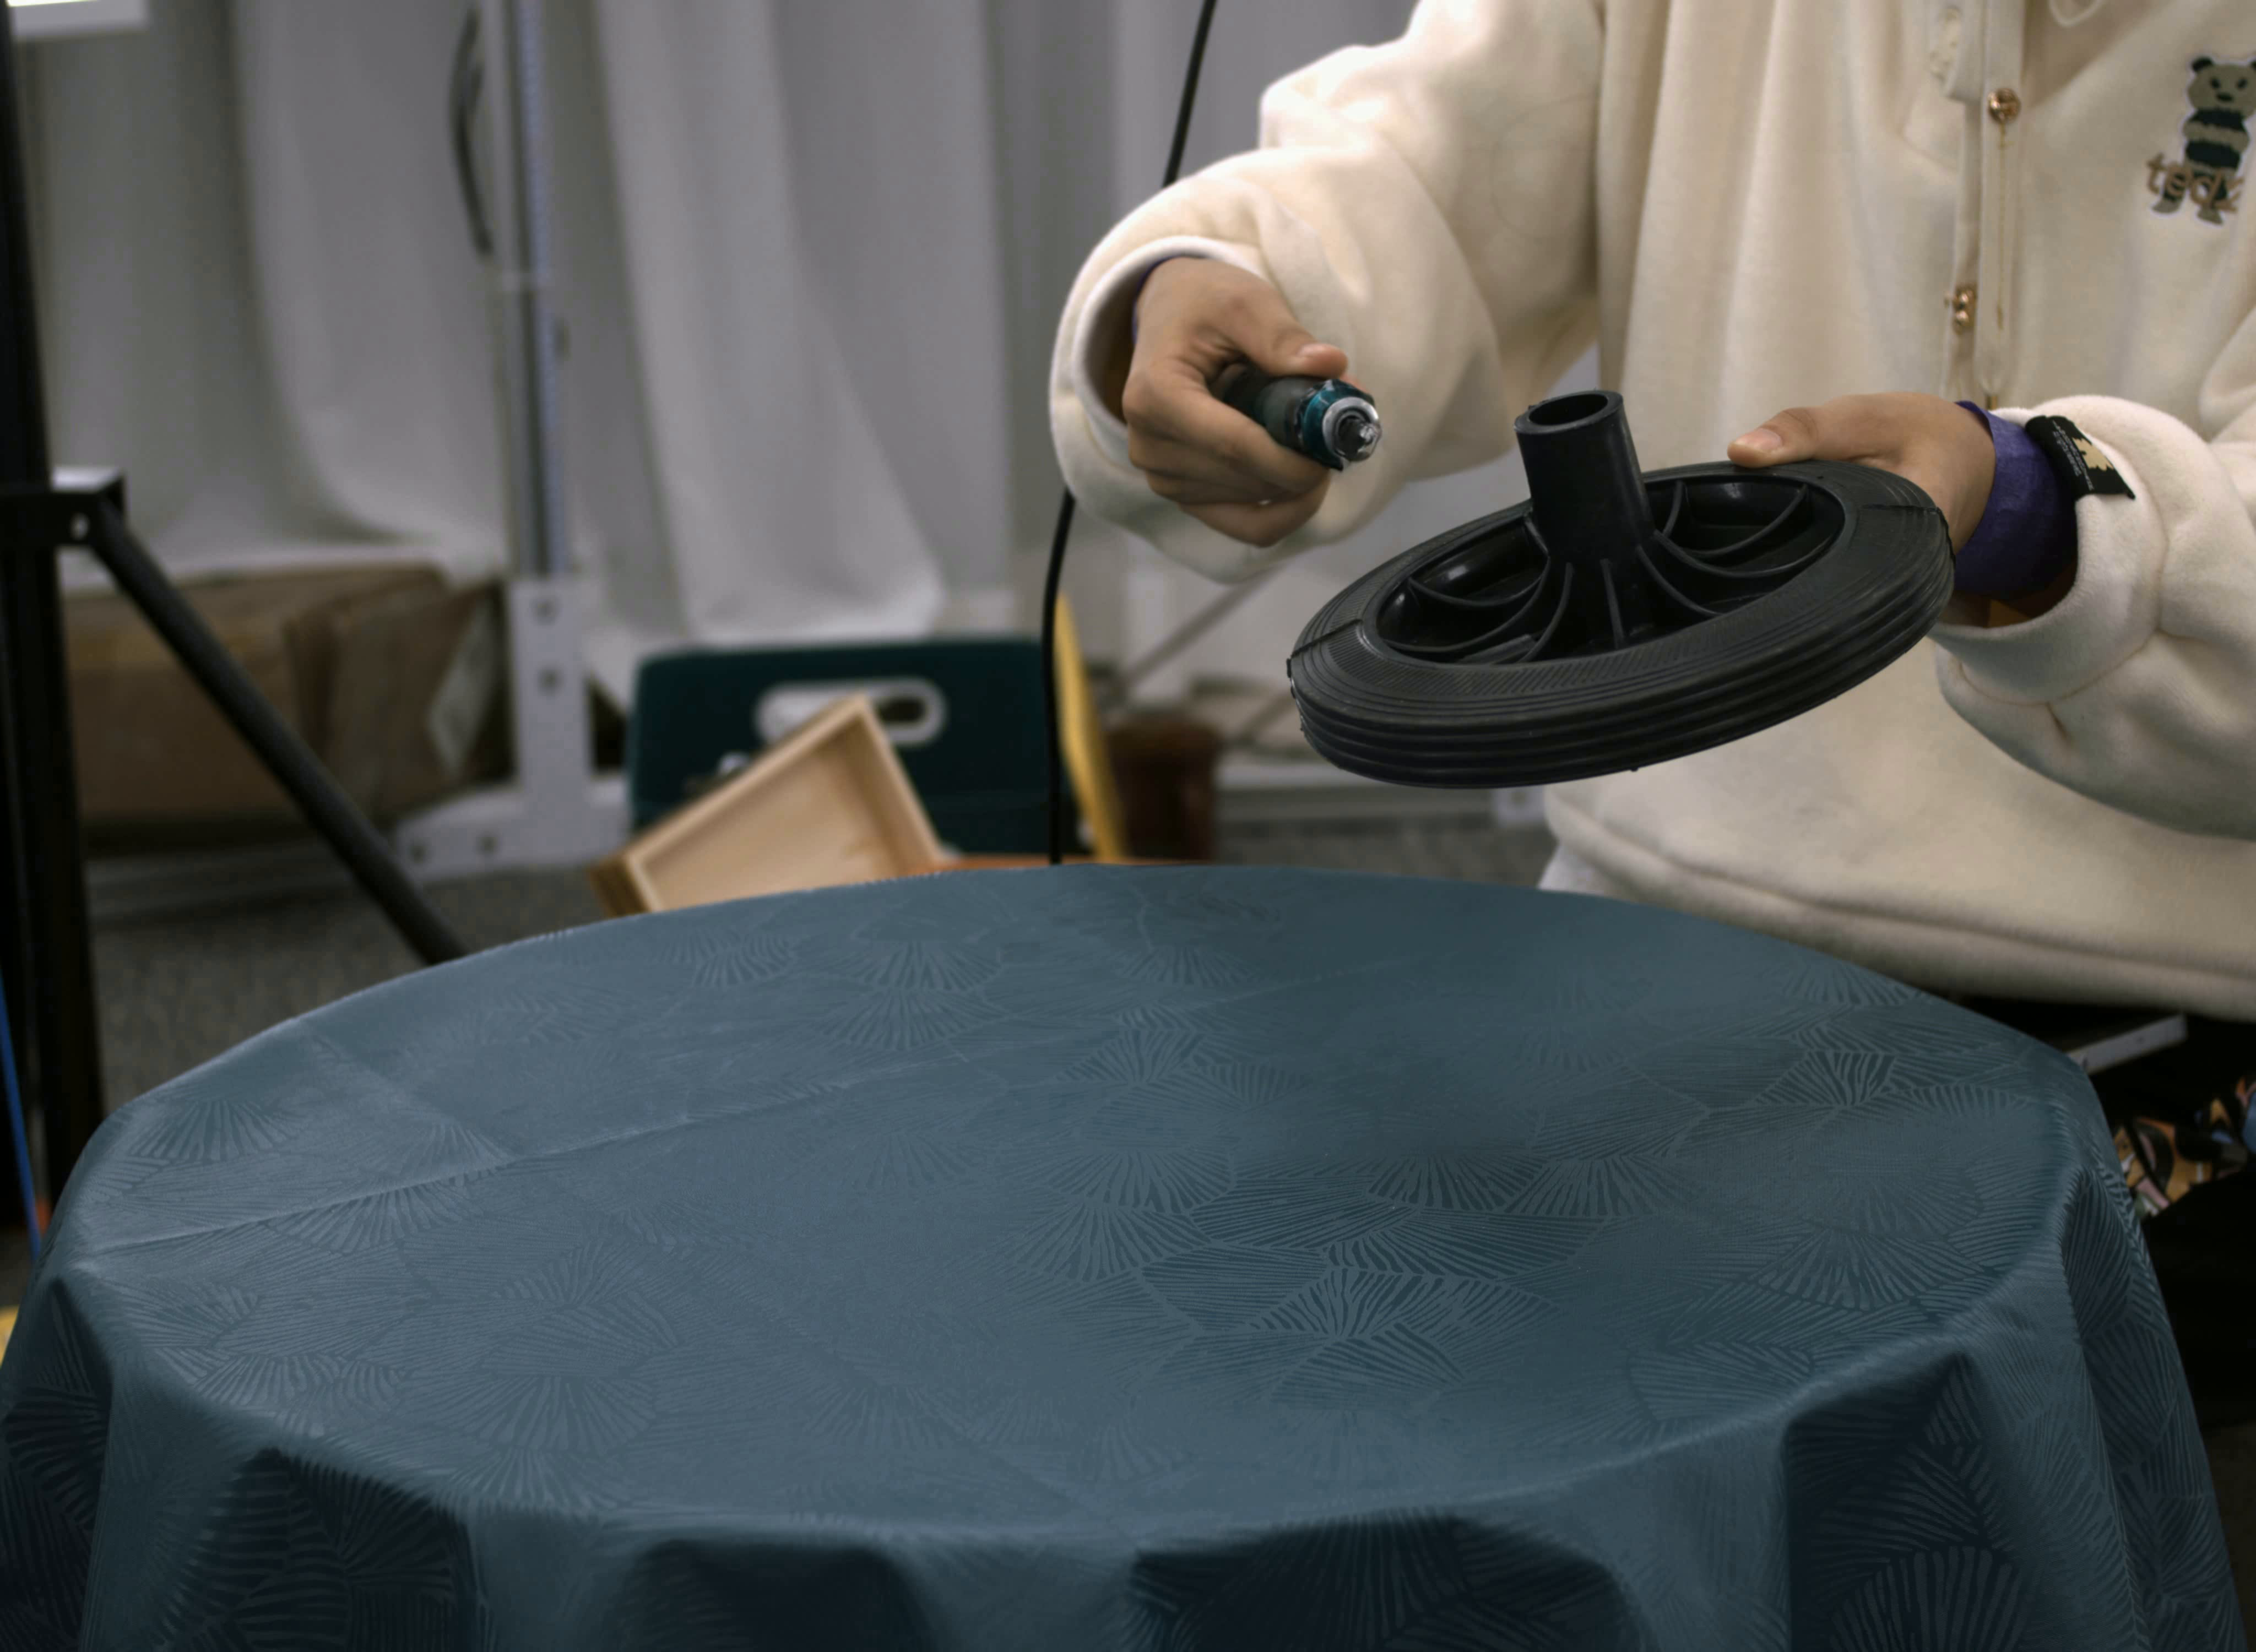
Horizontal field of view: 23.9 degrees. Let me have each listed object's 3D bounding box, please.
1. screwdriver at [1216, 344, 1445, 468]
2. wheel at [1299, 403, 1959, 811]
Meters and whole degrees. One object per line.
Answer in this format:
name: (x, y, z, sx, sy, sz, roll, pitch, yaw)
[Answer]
screwdriver: (0.065, -0.123, 1.632, 0.033, 0.034, 0.192, -6, 13, -14)
wheel: (0.132, -0.074, 1.474, 0.191, 0.078, 0.187, 3, 30, 43)
